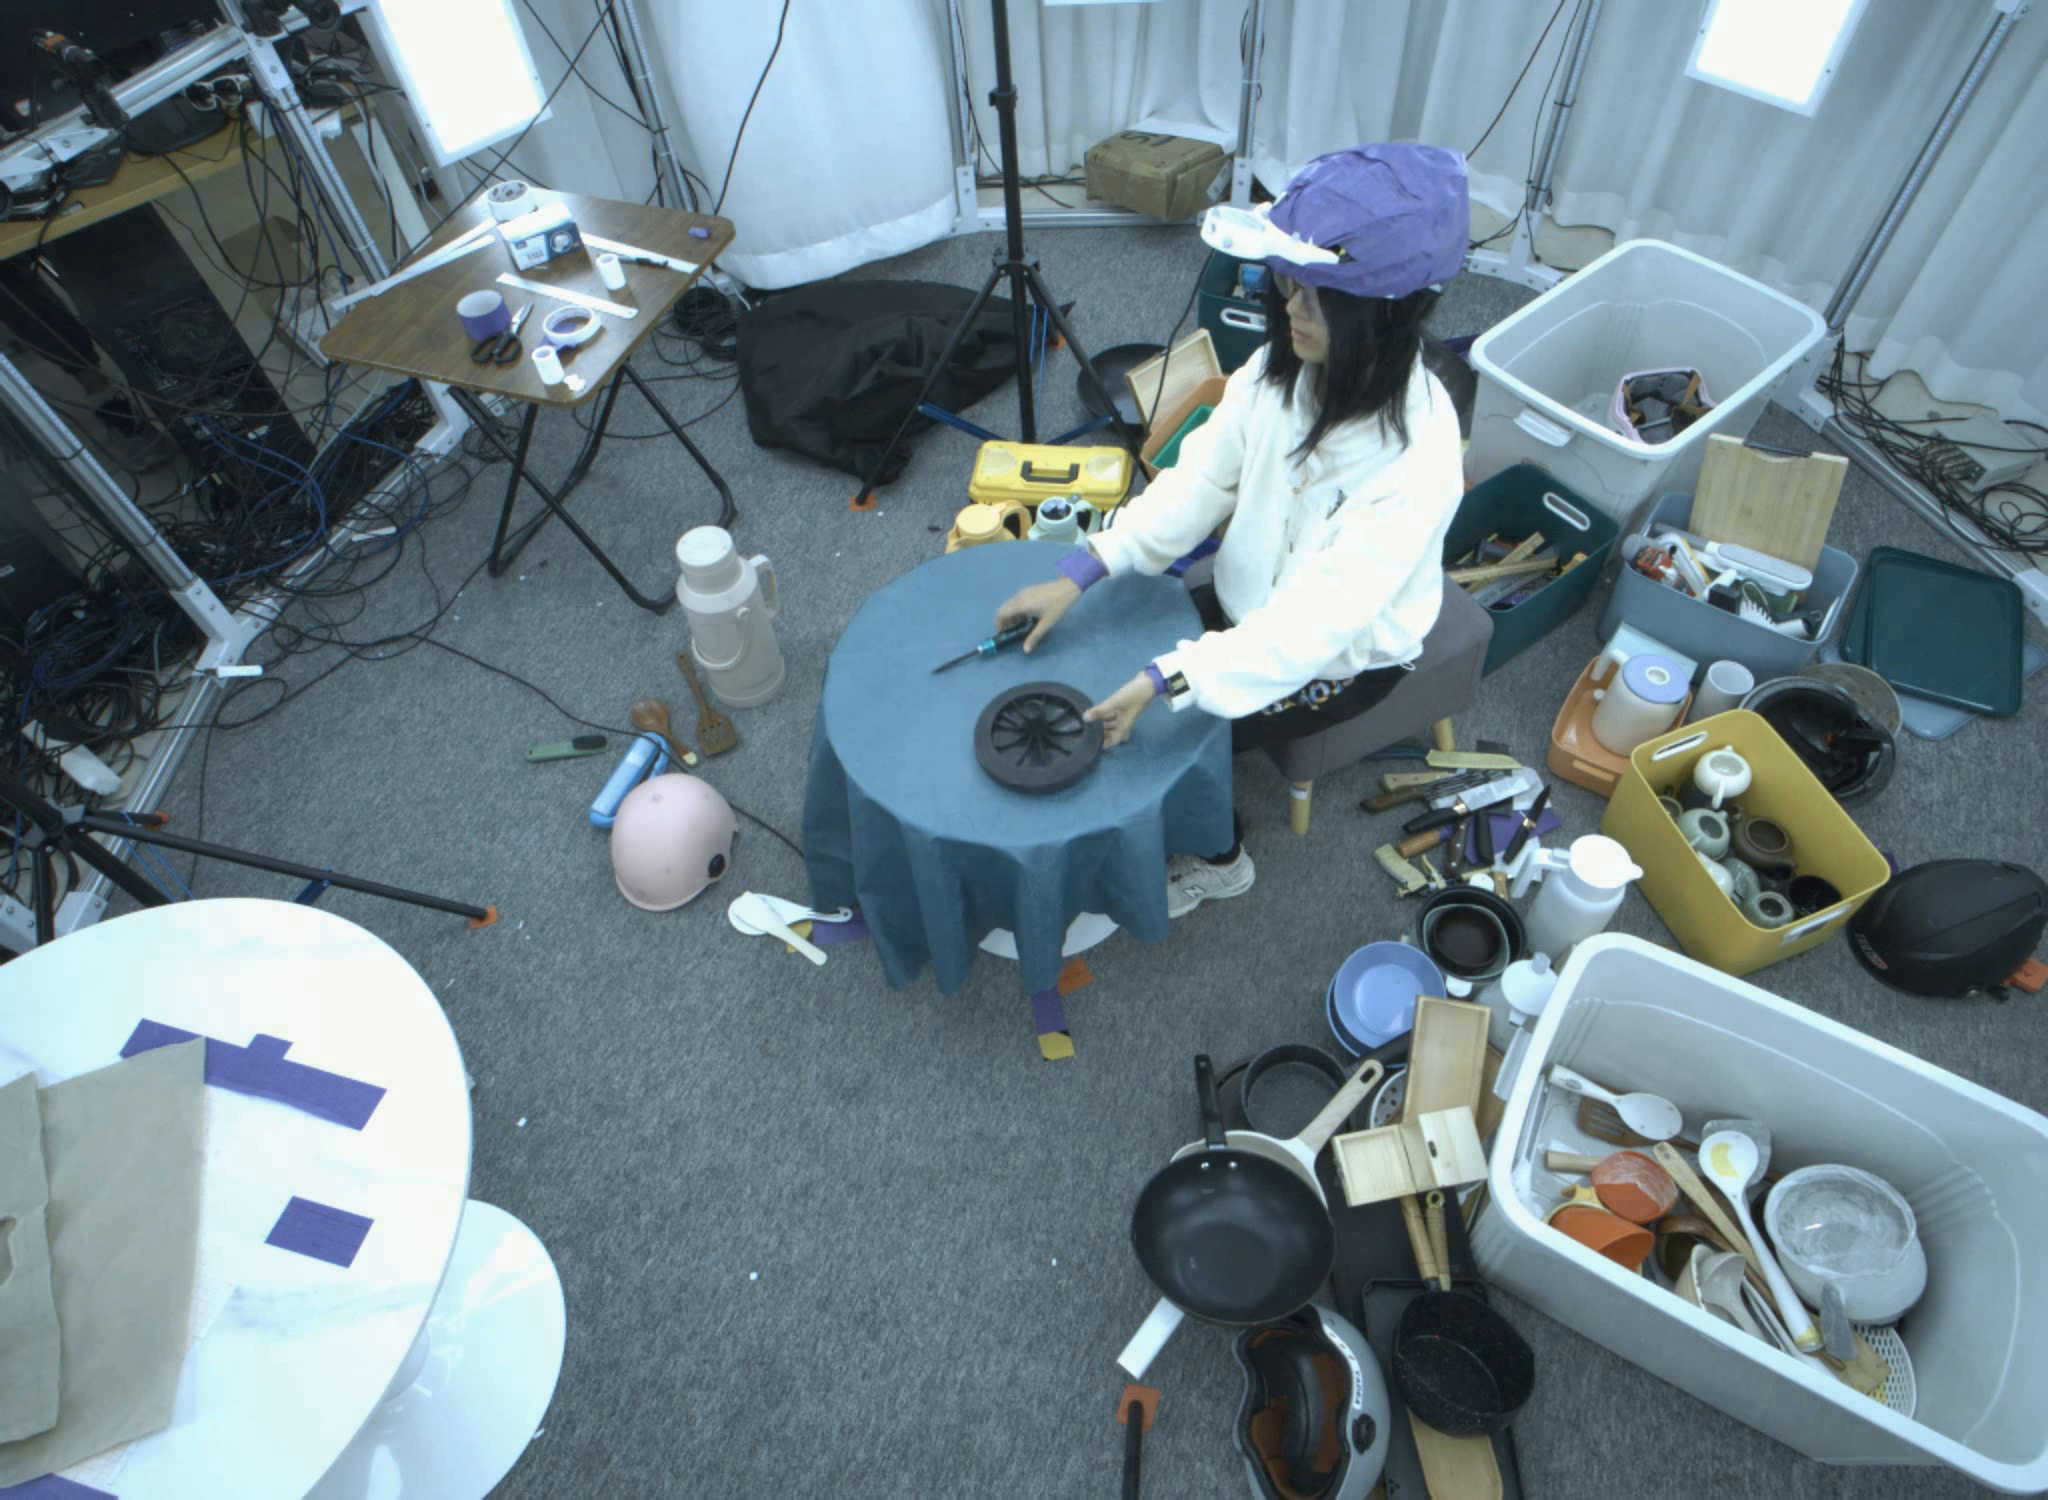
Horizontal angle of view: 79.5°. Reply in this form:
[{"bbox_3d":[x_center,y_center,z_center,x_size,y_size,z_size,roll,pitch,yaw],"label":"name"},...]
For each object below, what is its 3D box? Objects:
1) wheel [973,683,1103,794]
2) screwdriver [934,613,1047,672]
[{"bbox_3d":[0.016,-0.031,1.763,0.188,0.080,0.187,9,57,15],"label":"wheel"},{"bbox_3d":[-0.053,-0.161,1.888,0.191,0.034,0.033,-26,58,-8],"label":"screwdriver"}]
